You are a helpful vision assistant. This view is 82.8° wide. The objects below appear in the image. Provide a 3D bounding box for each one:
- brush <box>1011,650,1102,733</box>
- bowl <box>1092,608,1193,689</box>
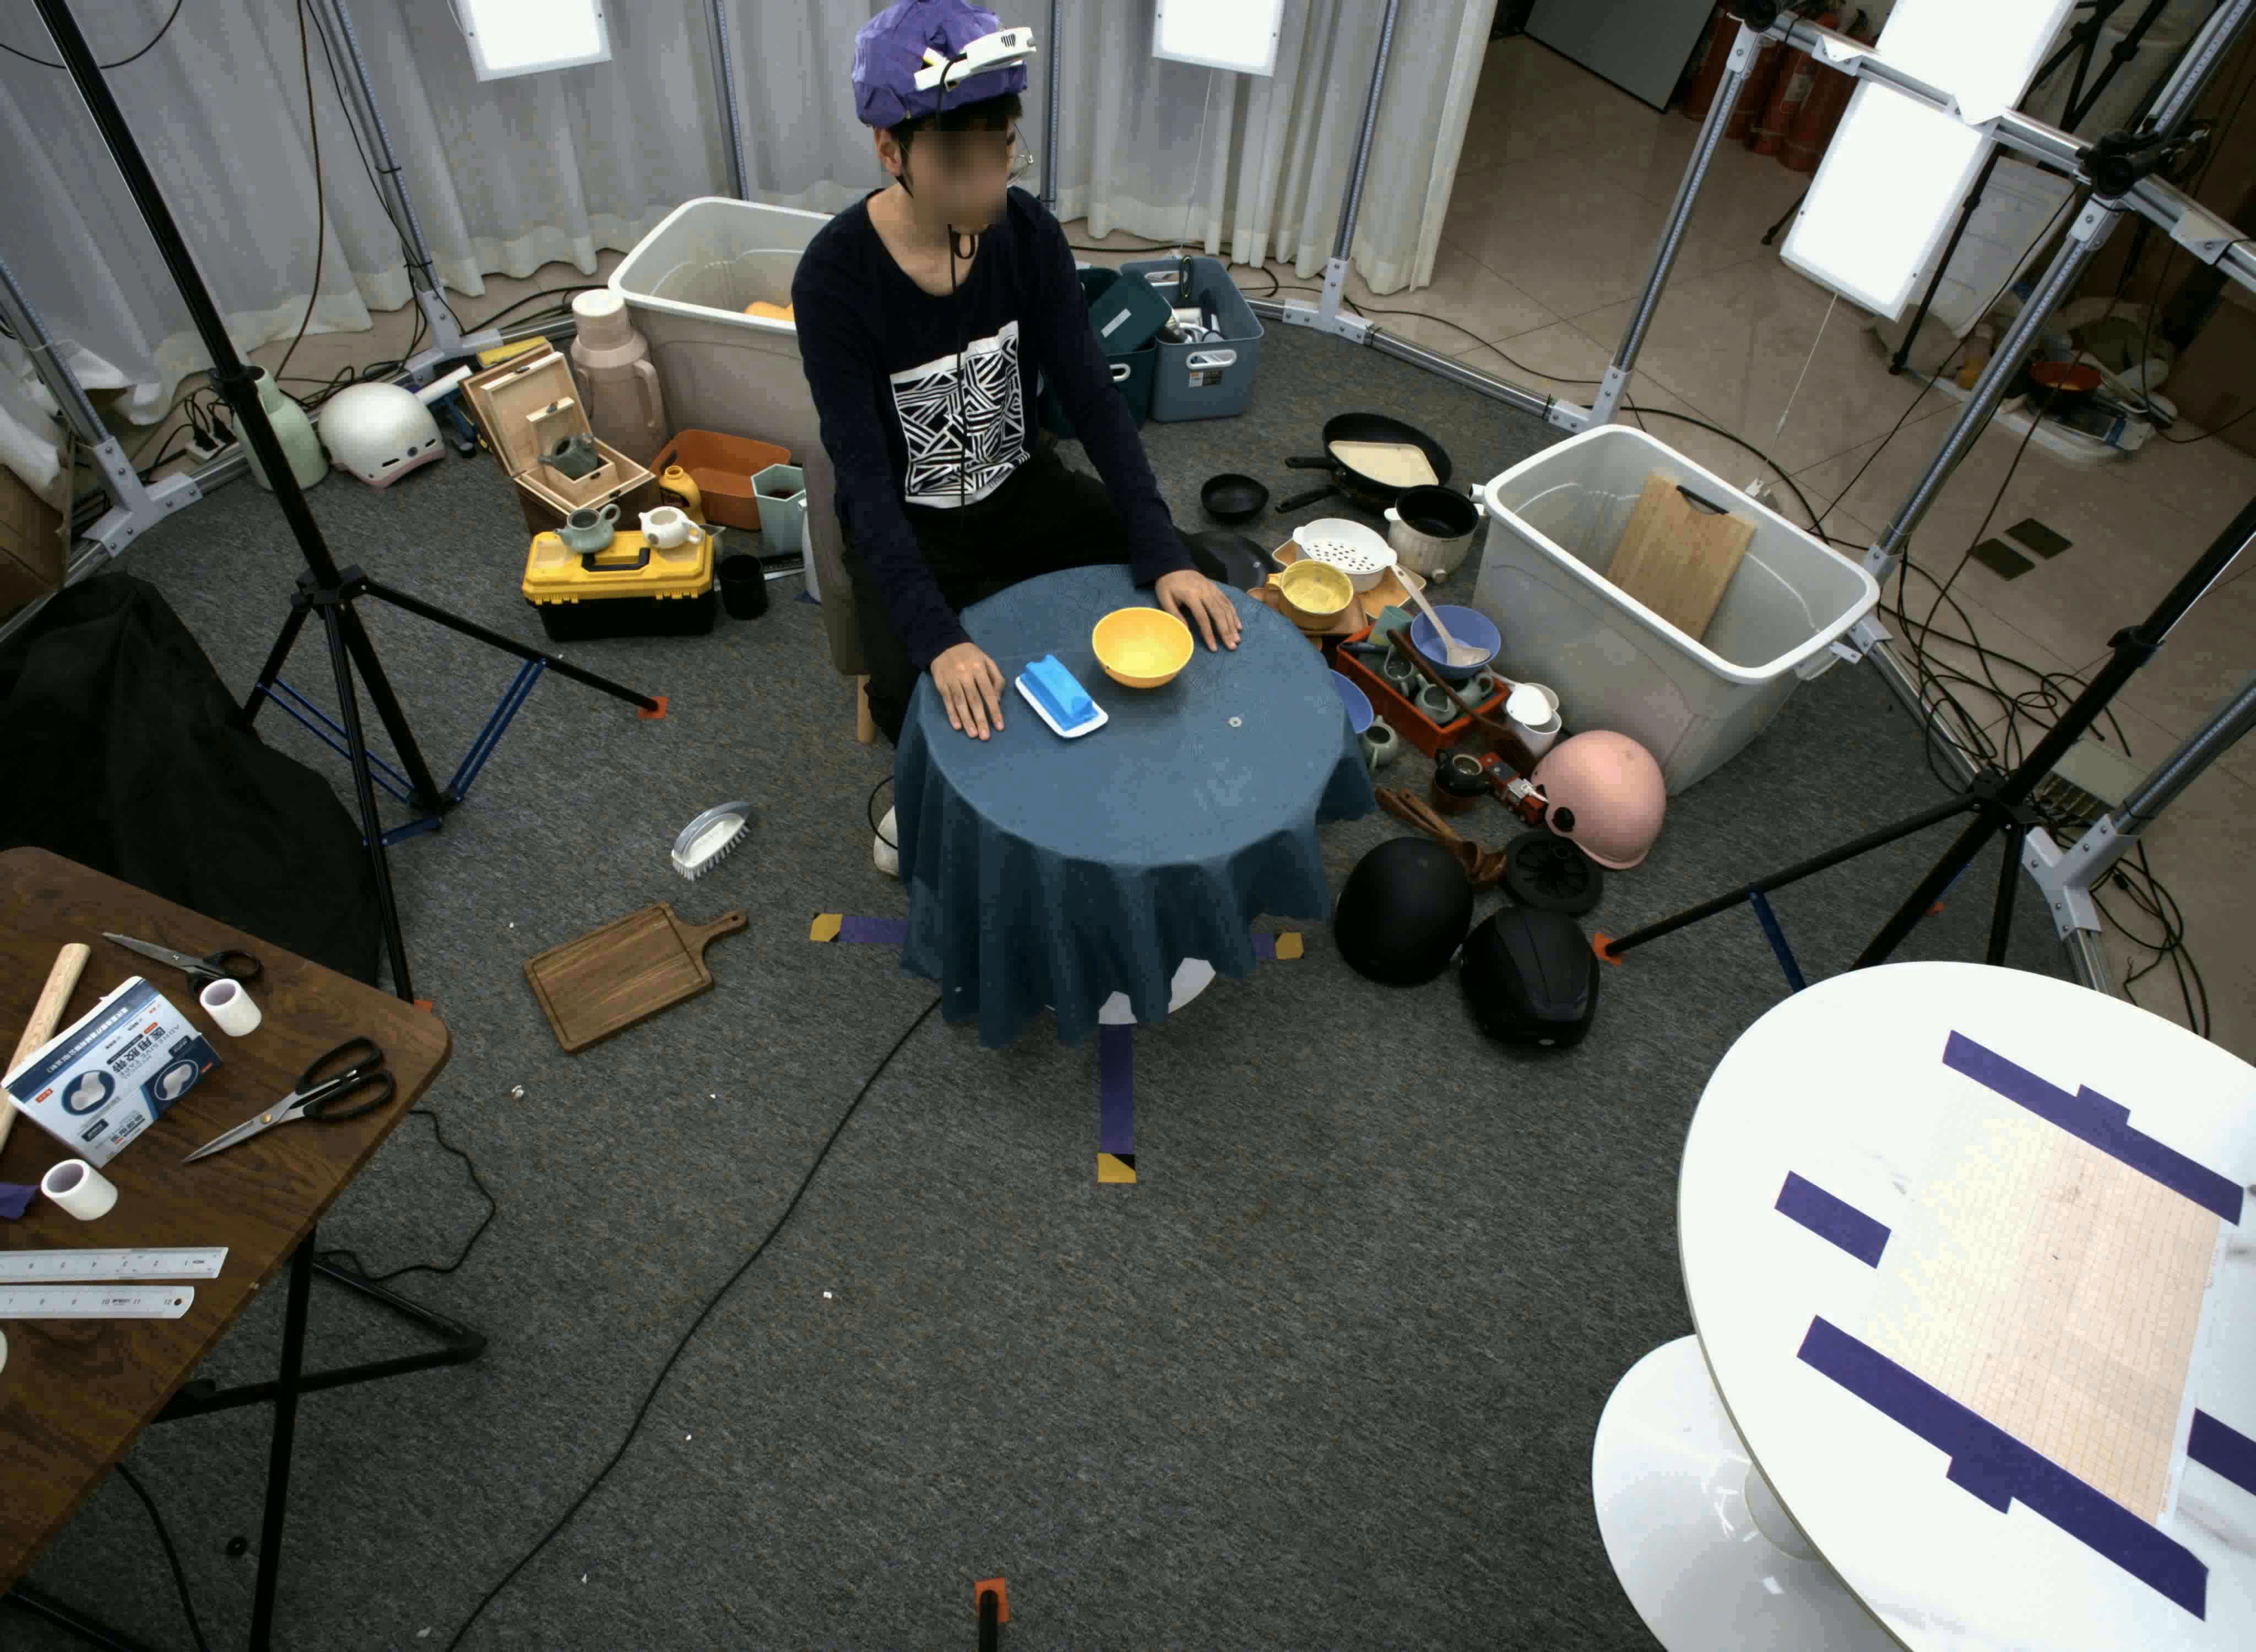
[{"bbox_3d":[-0.098,-0.194,1.790,0.084,0.054,0.147,-21,55,-25],"label":"brush"},{"bbox_3d":[0.019,-0.243,1.844,0.145,0.058,0.149,2,50,-3],"label":"bowl"}]
